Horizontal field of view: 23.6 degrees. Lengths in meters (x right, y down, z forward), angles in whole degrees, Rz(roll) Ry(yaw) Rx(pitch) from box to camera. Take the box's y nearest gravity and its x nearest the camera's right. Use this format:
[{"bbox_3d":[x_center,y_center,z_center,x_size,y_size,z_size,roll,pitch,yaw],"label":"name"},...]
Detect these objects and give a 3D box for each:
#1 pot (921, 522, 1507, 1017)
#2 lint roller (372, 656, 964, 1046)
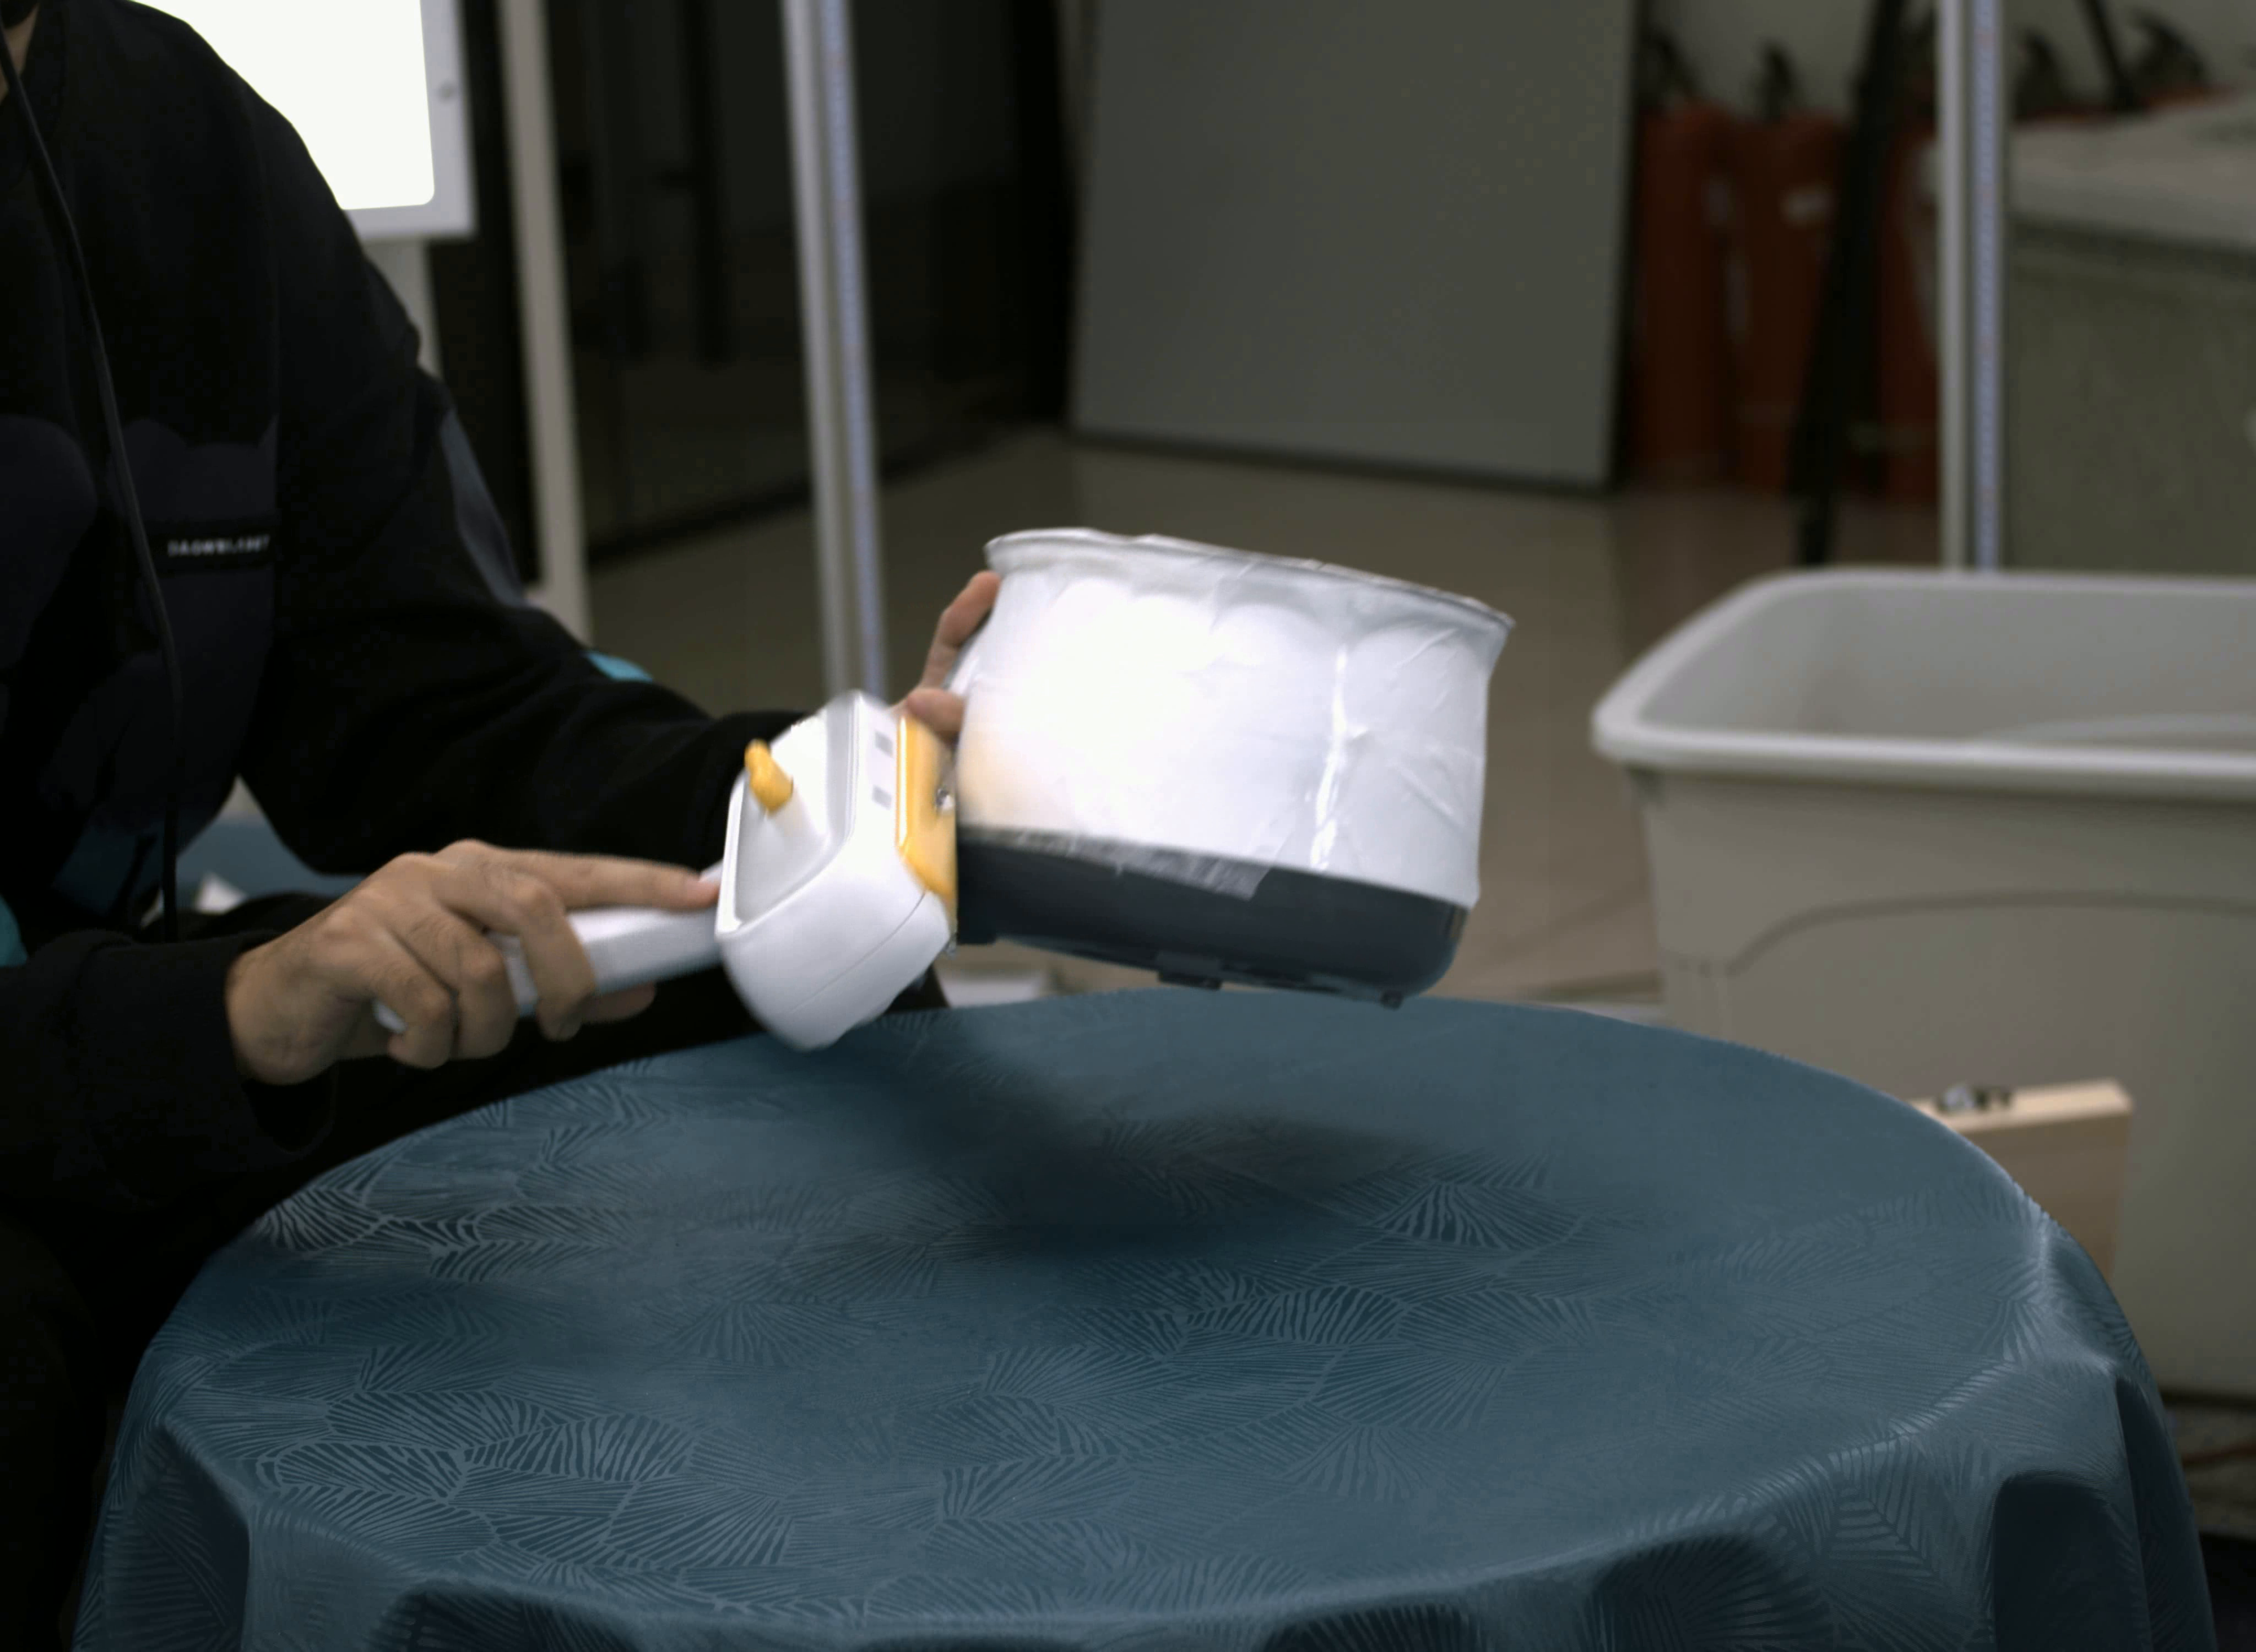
[{"bbox_3d":[0.009,-0.019,1.788,0.175,0.138,0.236,14,-6,-43],"label":"pot"},{"bbox_3d":[-0.145,0.026,1.708,0.191,0.074,0.194,-31,22,4],"label":"lint roller"}]
